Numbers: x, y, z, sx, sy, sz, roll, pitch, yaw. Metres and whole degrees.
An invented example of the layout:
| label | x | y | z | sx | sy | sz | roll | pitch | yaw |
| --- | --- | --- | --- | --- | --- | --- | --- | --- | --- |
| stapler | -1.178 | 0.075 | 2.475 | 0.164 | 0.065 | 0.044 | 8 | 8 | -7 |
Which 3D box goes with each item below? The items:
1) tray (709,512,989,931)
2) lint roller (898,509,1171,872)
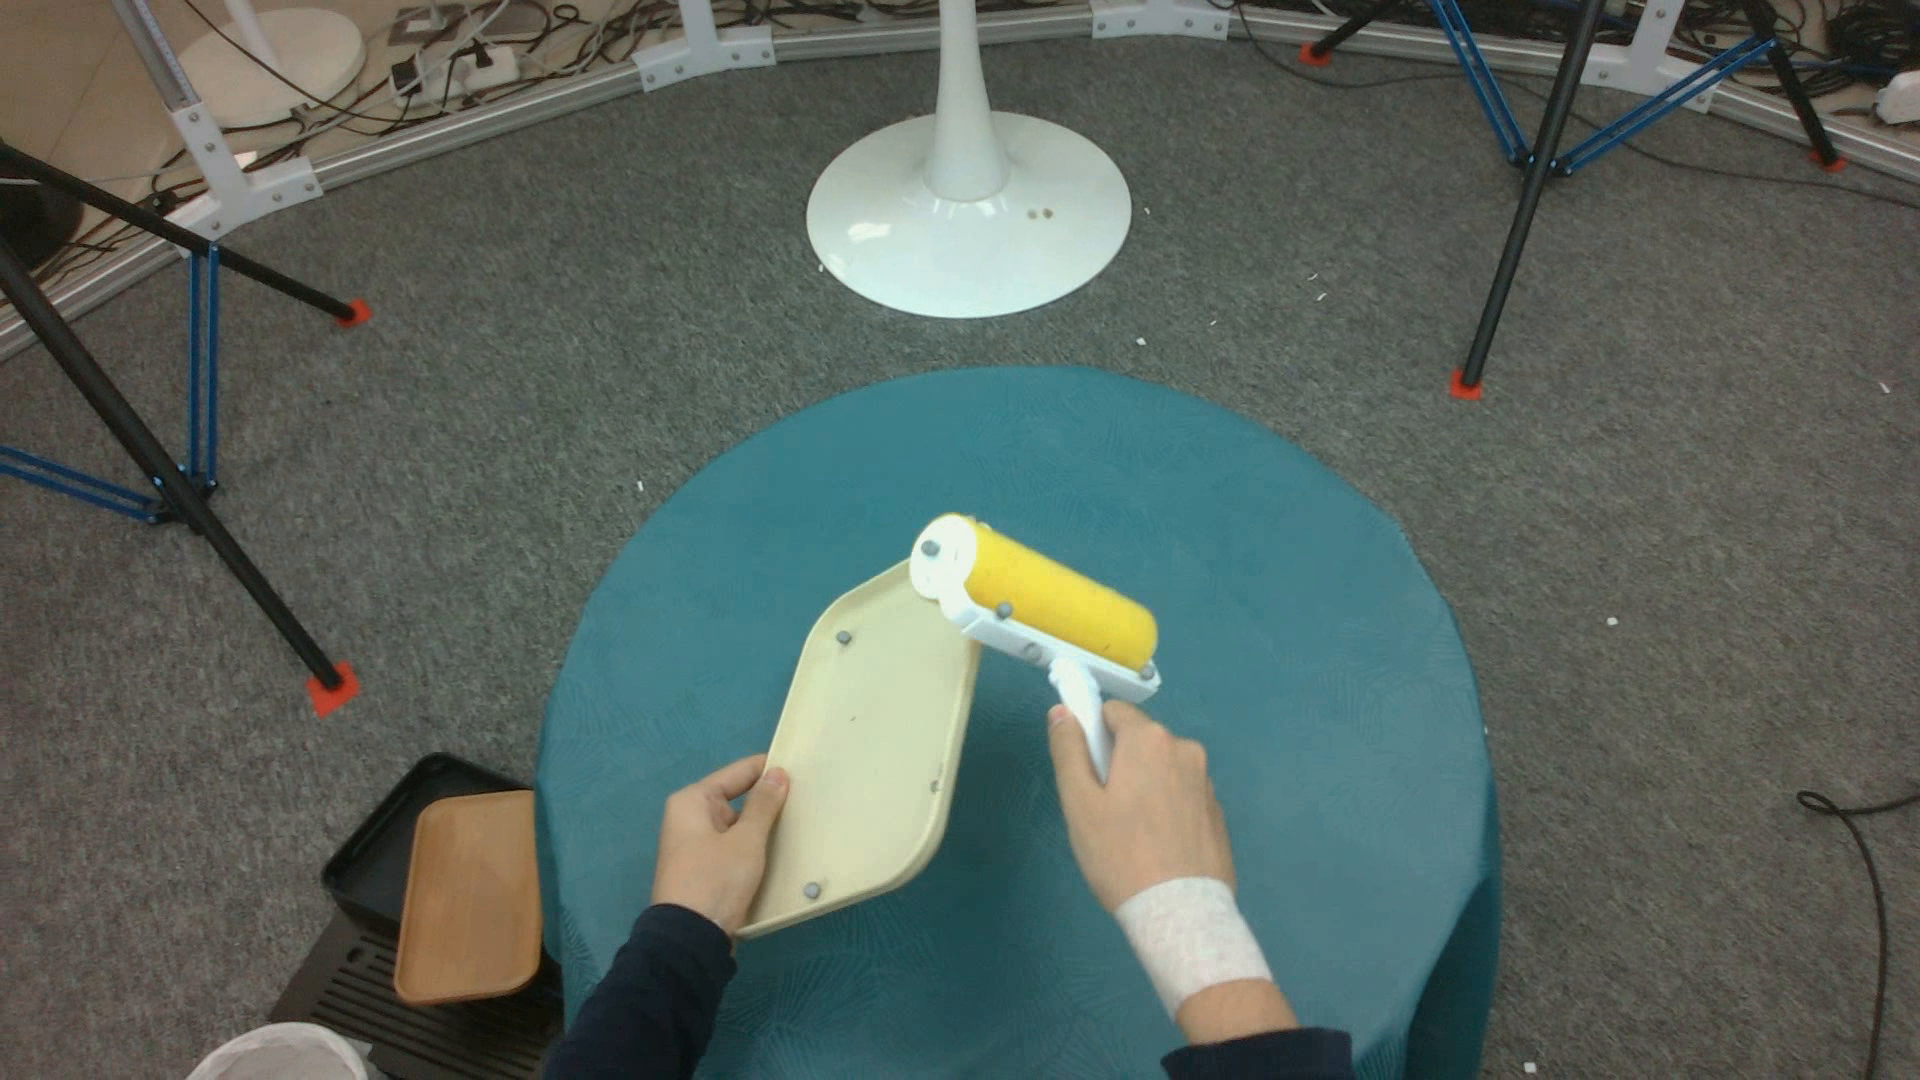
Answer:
| label | x | y | z | sx | sy | sz | roll | pitch | yaw |
| --- | --- | --- | --- | --- | --- | --- | --- | --- | --- |
| tray | -0.056 | 0.097 | 0.766 | 0.170 | 0.017 | 0.241 | -30 | 32 | 37 |
| lint roller | 0.067 | 0.077 | 0.702 | 0.051 | 0.174 | 0.192 | -48 | 48 | 17 |
